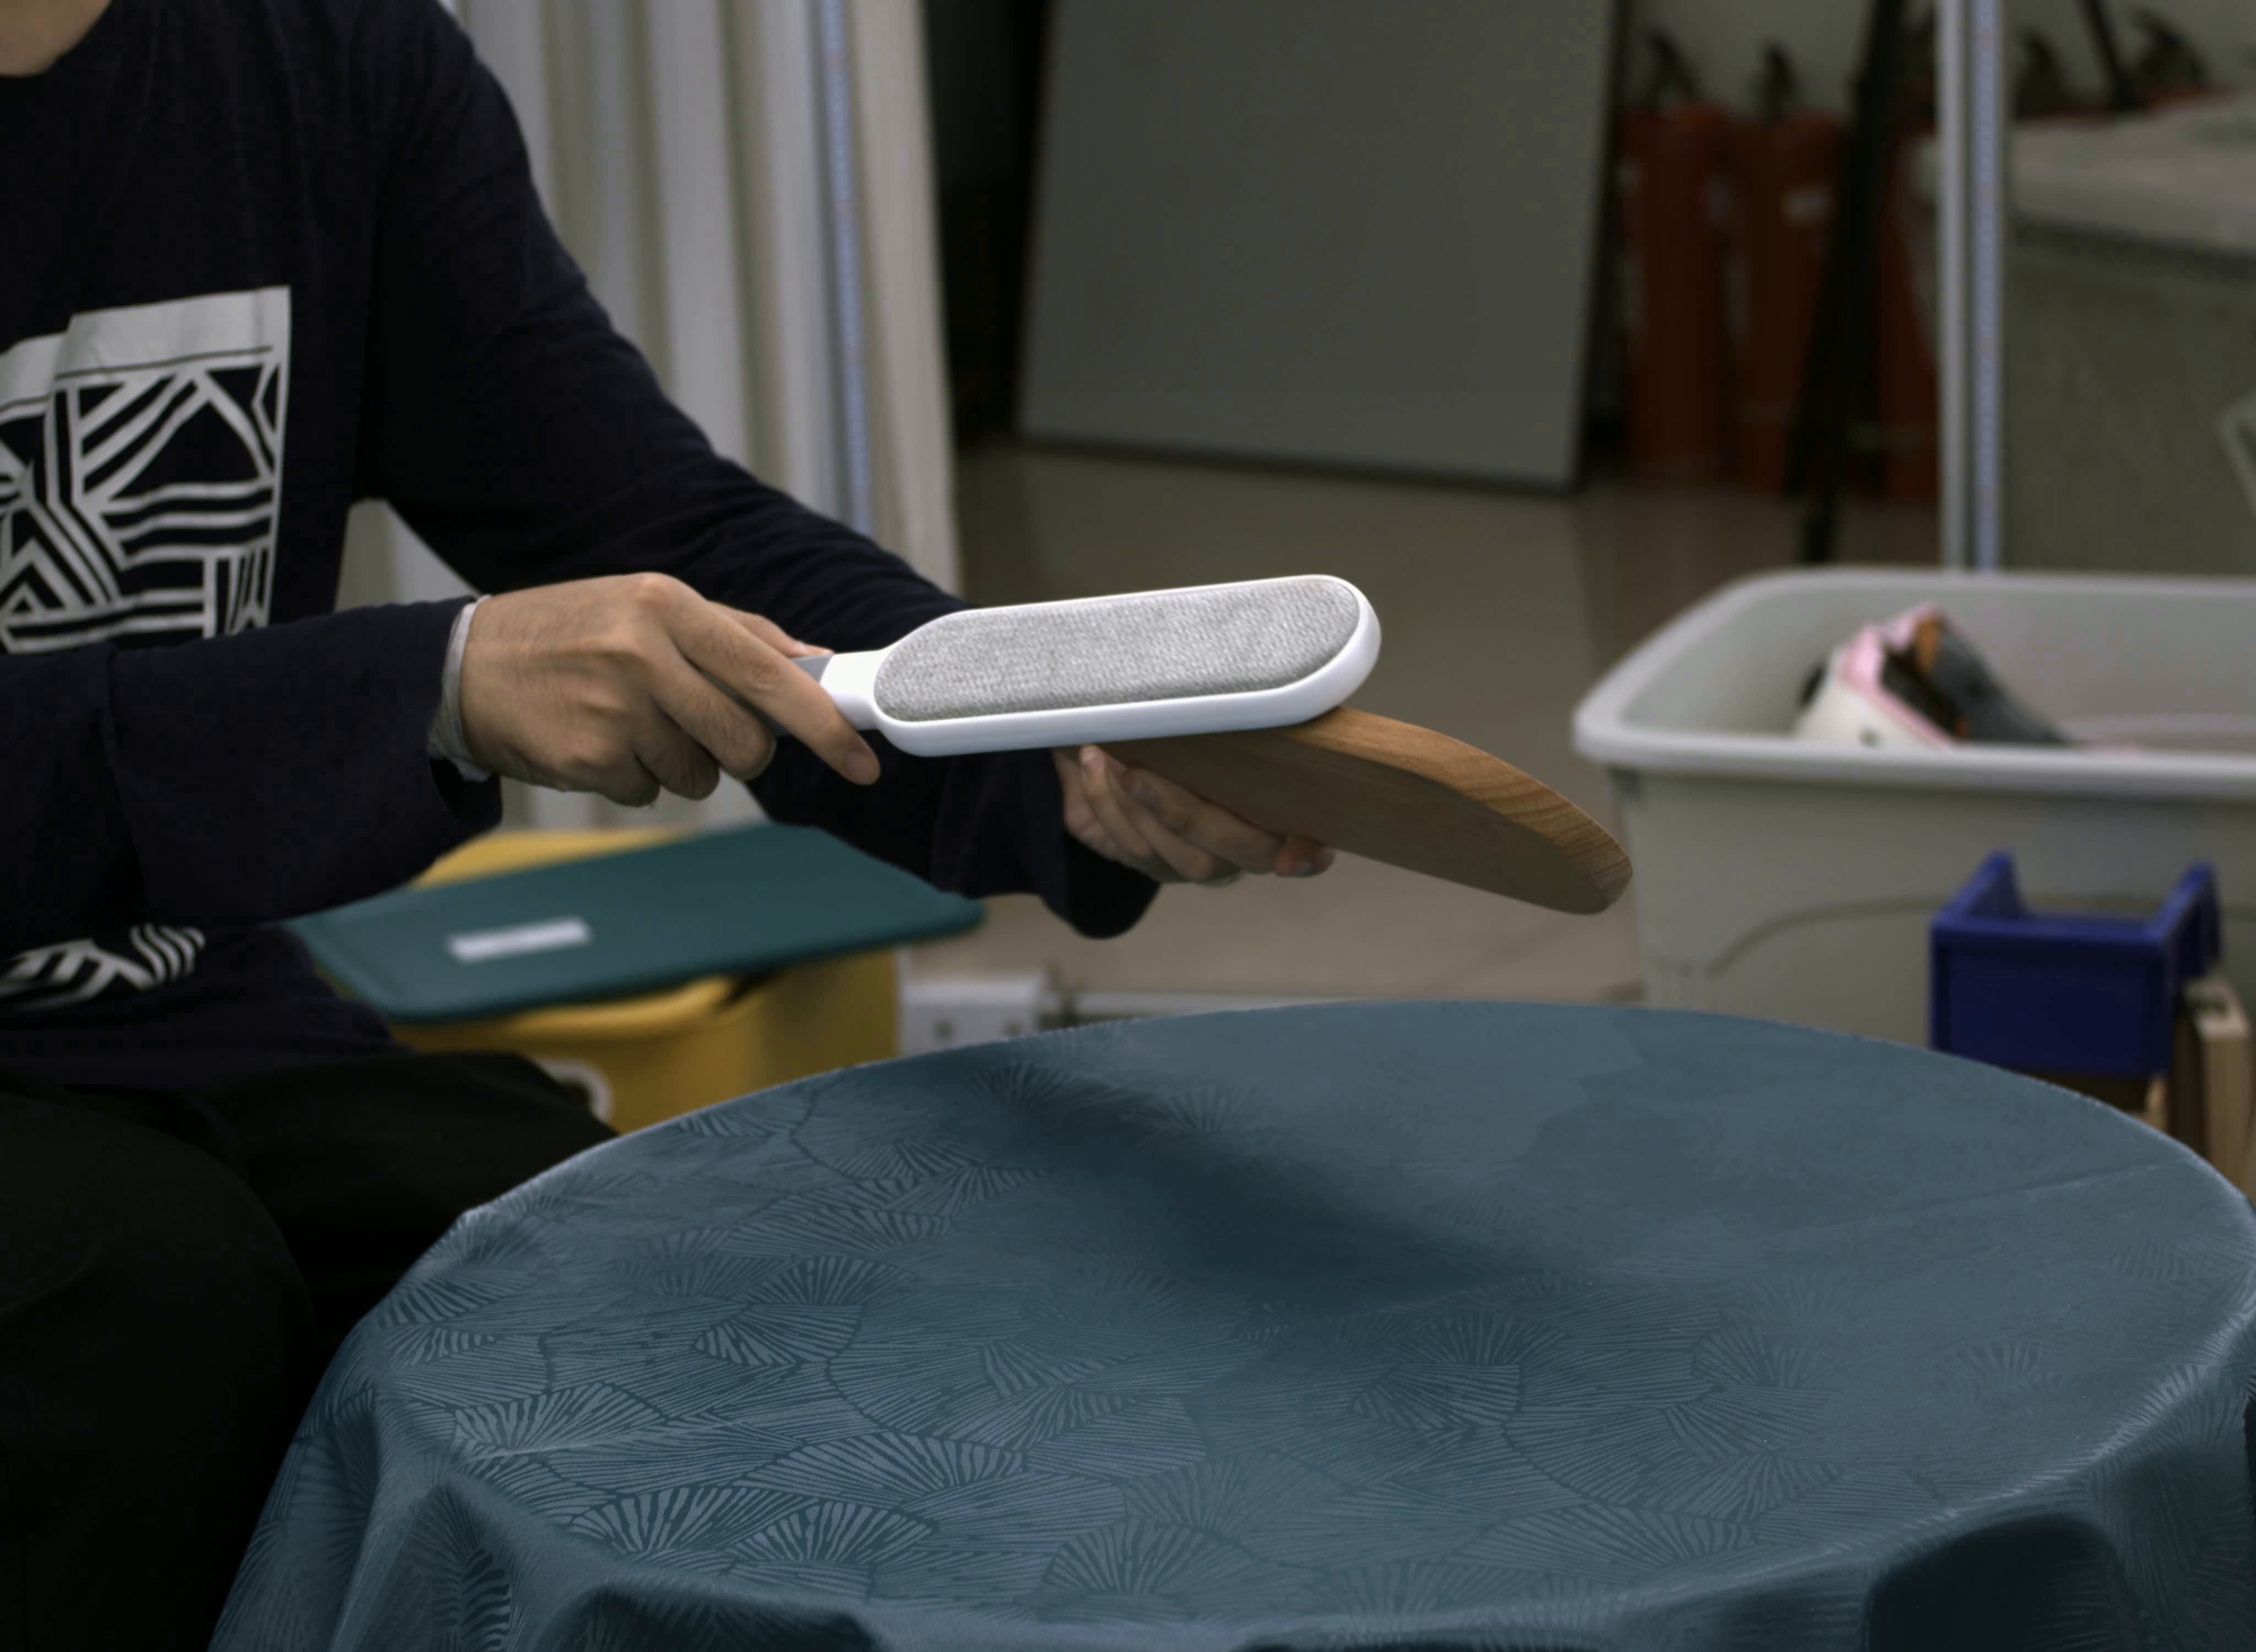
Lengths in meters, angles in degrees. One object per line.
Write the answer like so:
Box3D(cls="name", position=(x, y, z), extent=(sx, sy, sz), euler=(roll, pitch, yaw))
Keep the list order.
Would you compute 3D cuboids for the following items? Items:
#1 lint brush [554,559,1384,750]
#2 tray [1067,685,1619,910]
Box3D(cls="lint brush", position=(-0.057, -0.050, 1.740), extent=(0.310, 0.021, 0.060), euler=(-5, 48, 30))
Box3D(cls="tray", position=(0.060, -0.017, 1.723), extent=(0.233, 0.020, 0.100), euler=(14, -22, 44))
